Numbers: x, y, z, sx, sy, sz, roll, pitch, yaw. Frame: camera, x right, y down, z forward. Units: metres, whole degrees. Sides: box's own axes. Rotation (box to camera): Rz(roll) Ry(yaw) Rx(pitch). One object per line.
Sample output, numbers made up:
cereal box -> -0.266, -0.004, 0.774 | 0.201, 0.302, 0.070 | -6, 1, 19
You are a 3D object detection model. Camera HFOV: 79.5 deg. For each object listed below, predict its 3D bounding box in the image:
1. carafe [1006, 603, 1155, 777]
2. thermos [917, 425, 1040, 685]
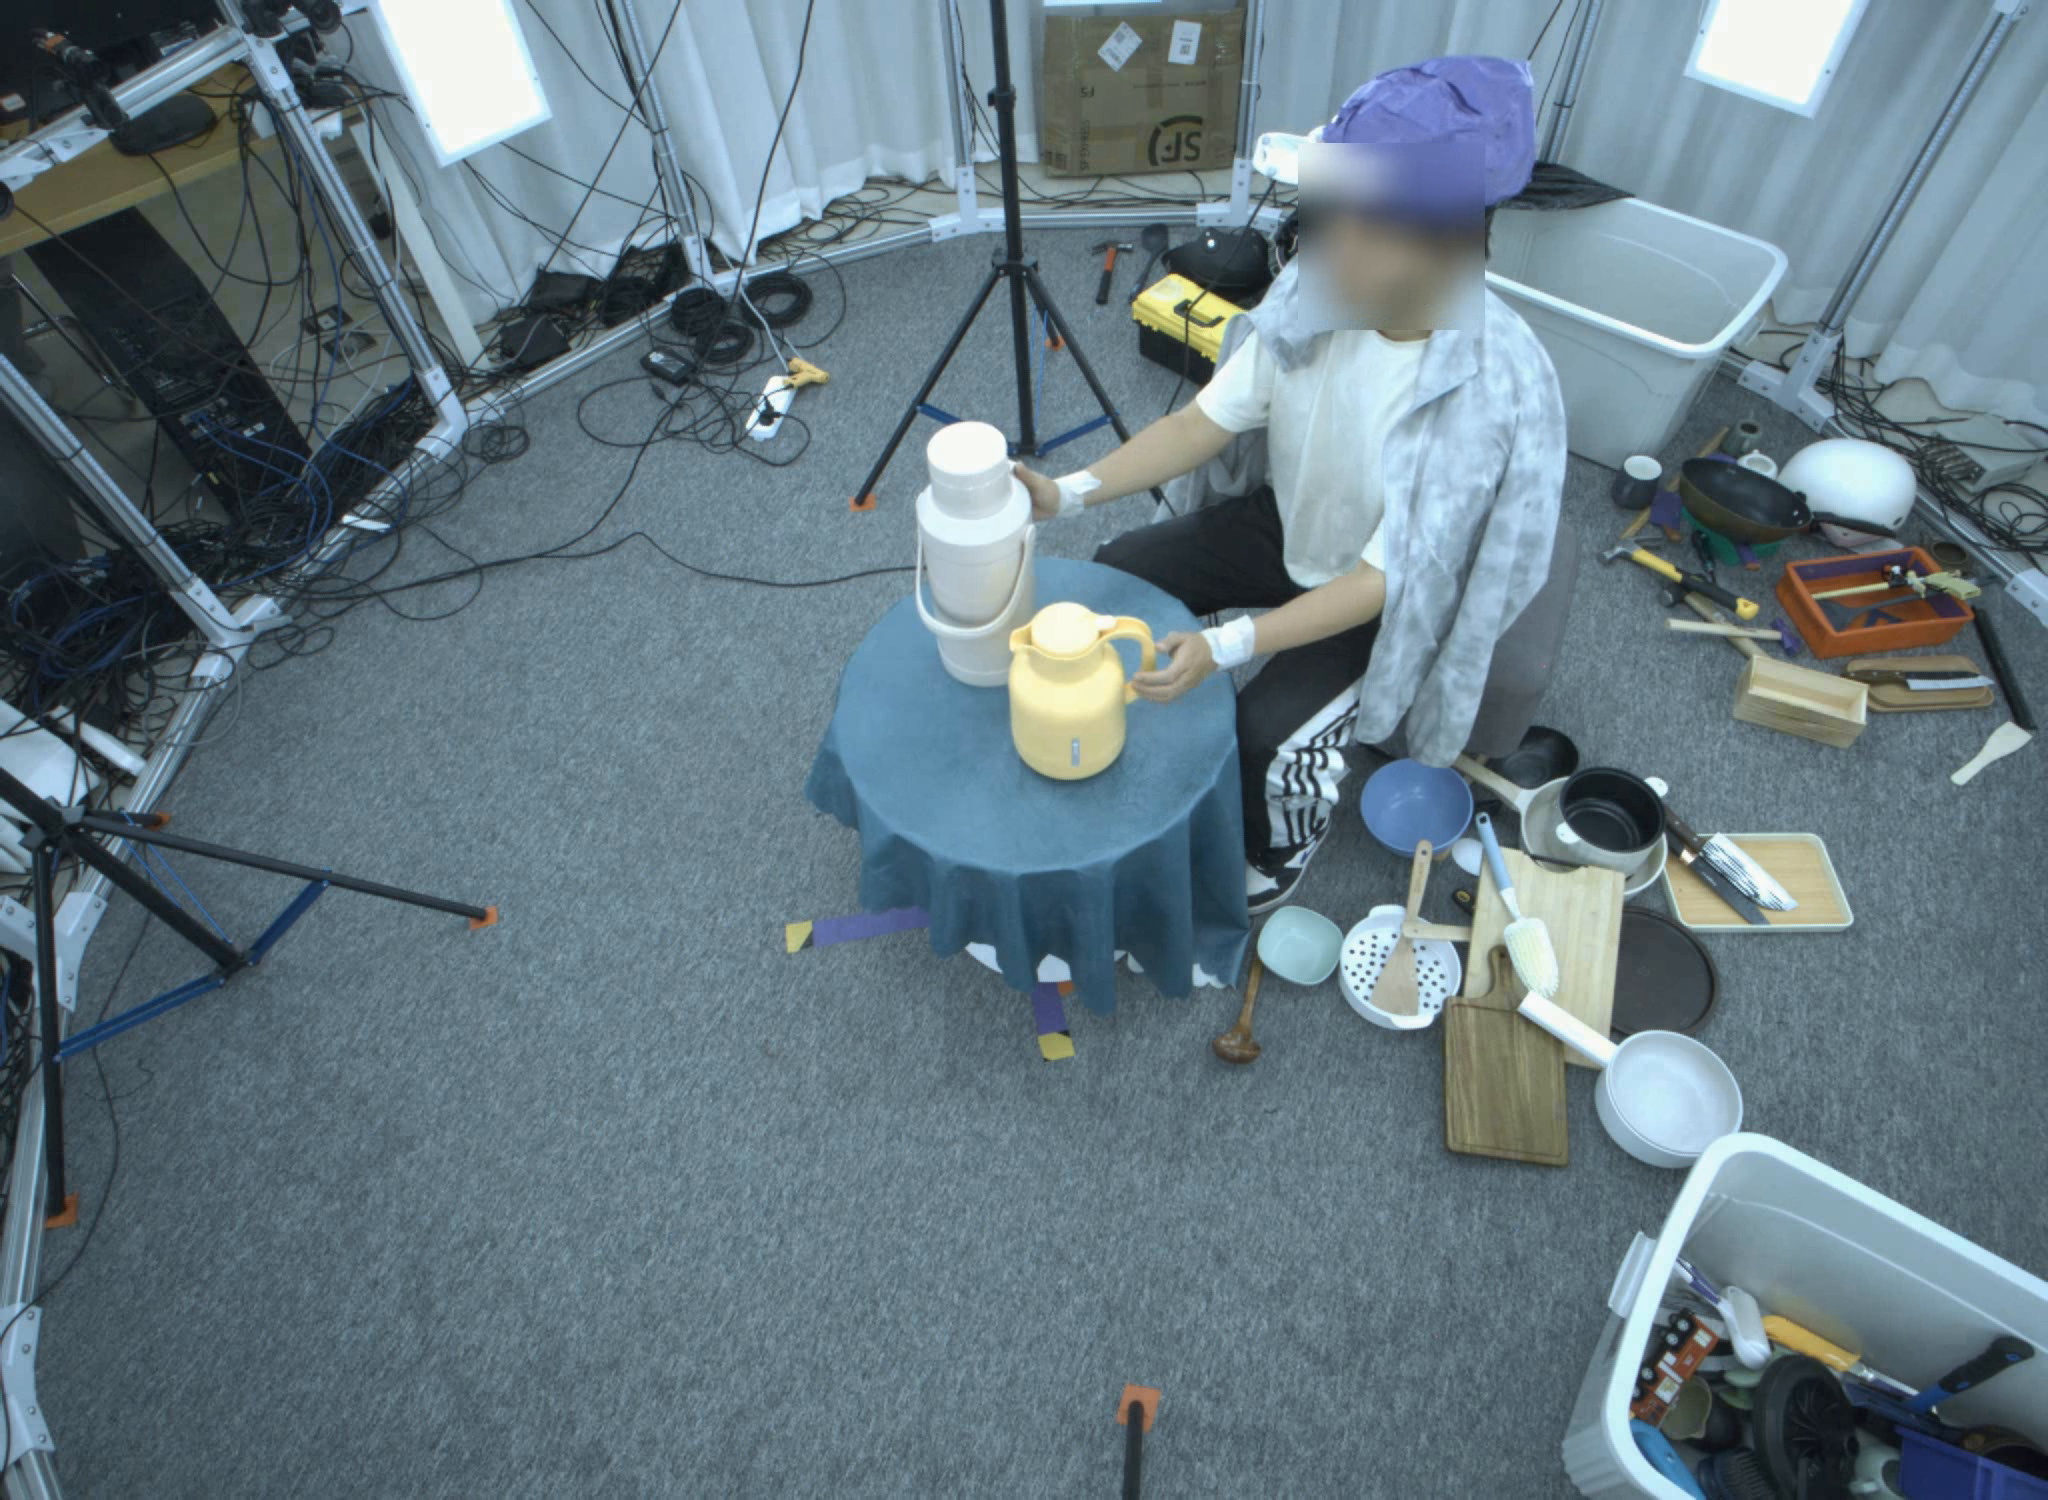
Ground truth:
carafe -> 0.078, -0.089, 1.689 | 0.202, 0.263, 0.161 | -8, 57, -1
thermos -> -0.055, -0.286, 1.748 | 0.173, 0.411, 0.207 | 20, 59, 18
